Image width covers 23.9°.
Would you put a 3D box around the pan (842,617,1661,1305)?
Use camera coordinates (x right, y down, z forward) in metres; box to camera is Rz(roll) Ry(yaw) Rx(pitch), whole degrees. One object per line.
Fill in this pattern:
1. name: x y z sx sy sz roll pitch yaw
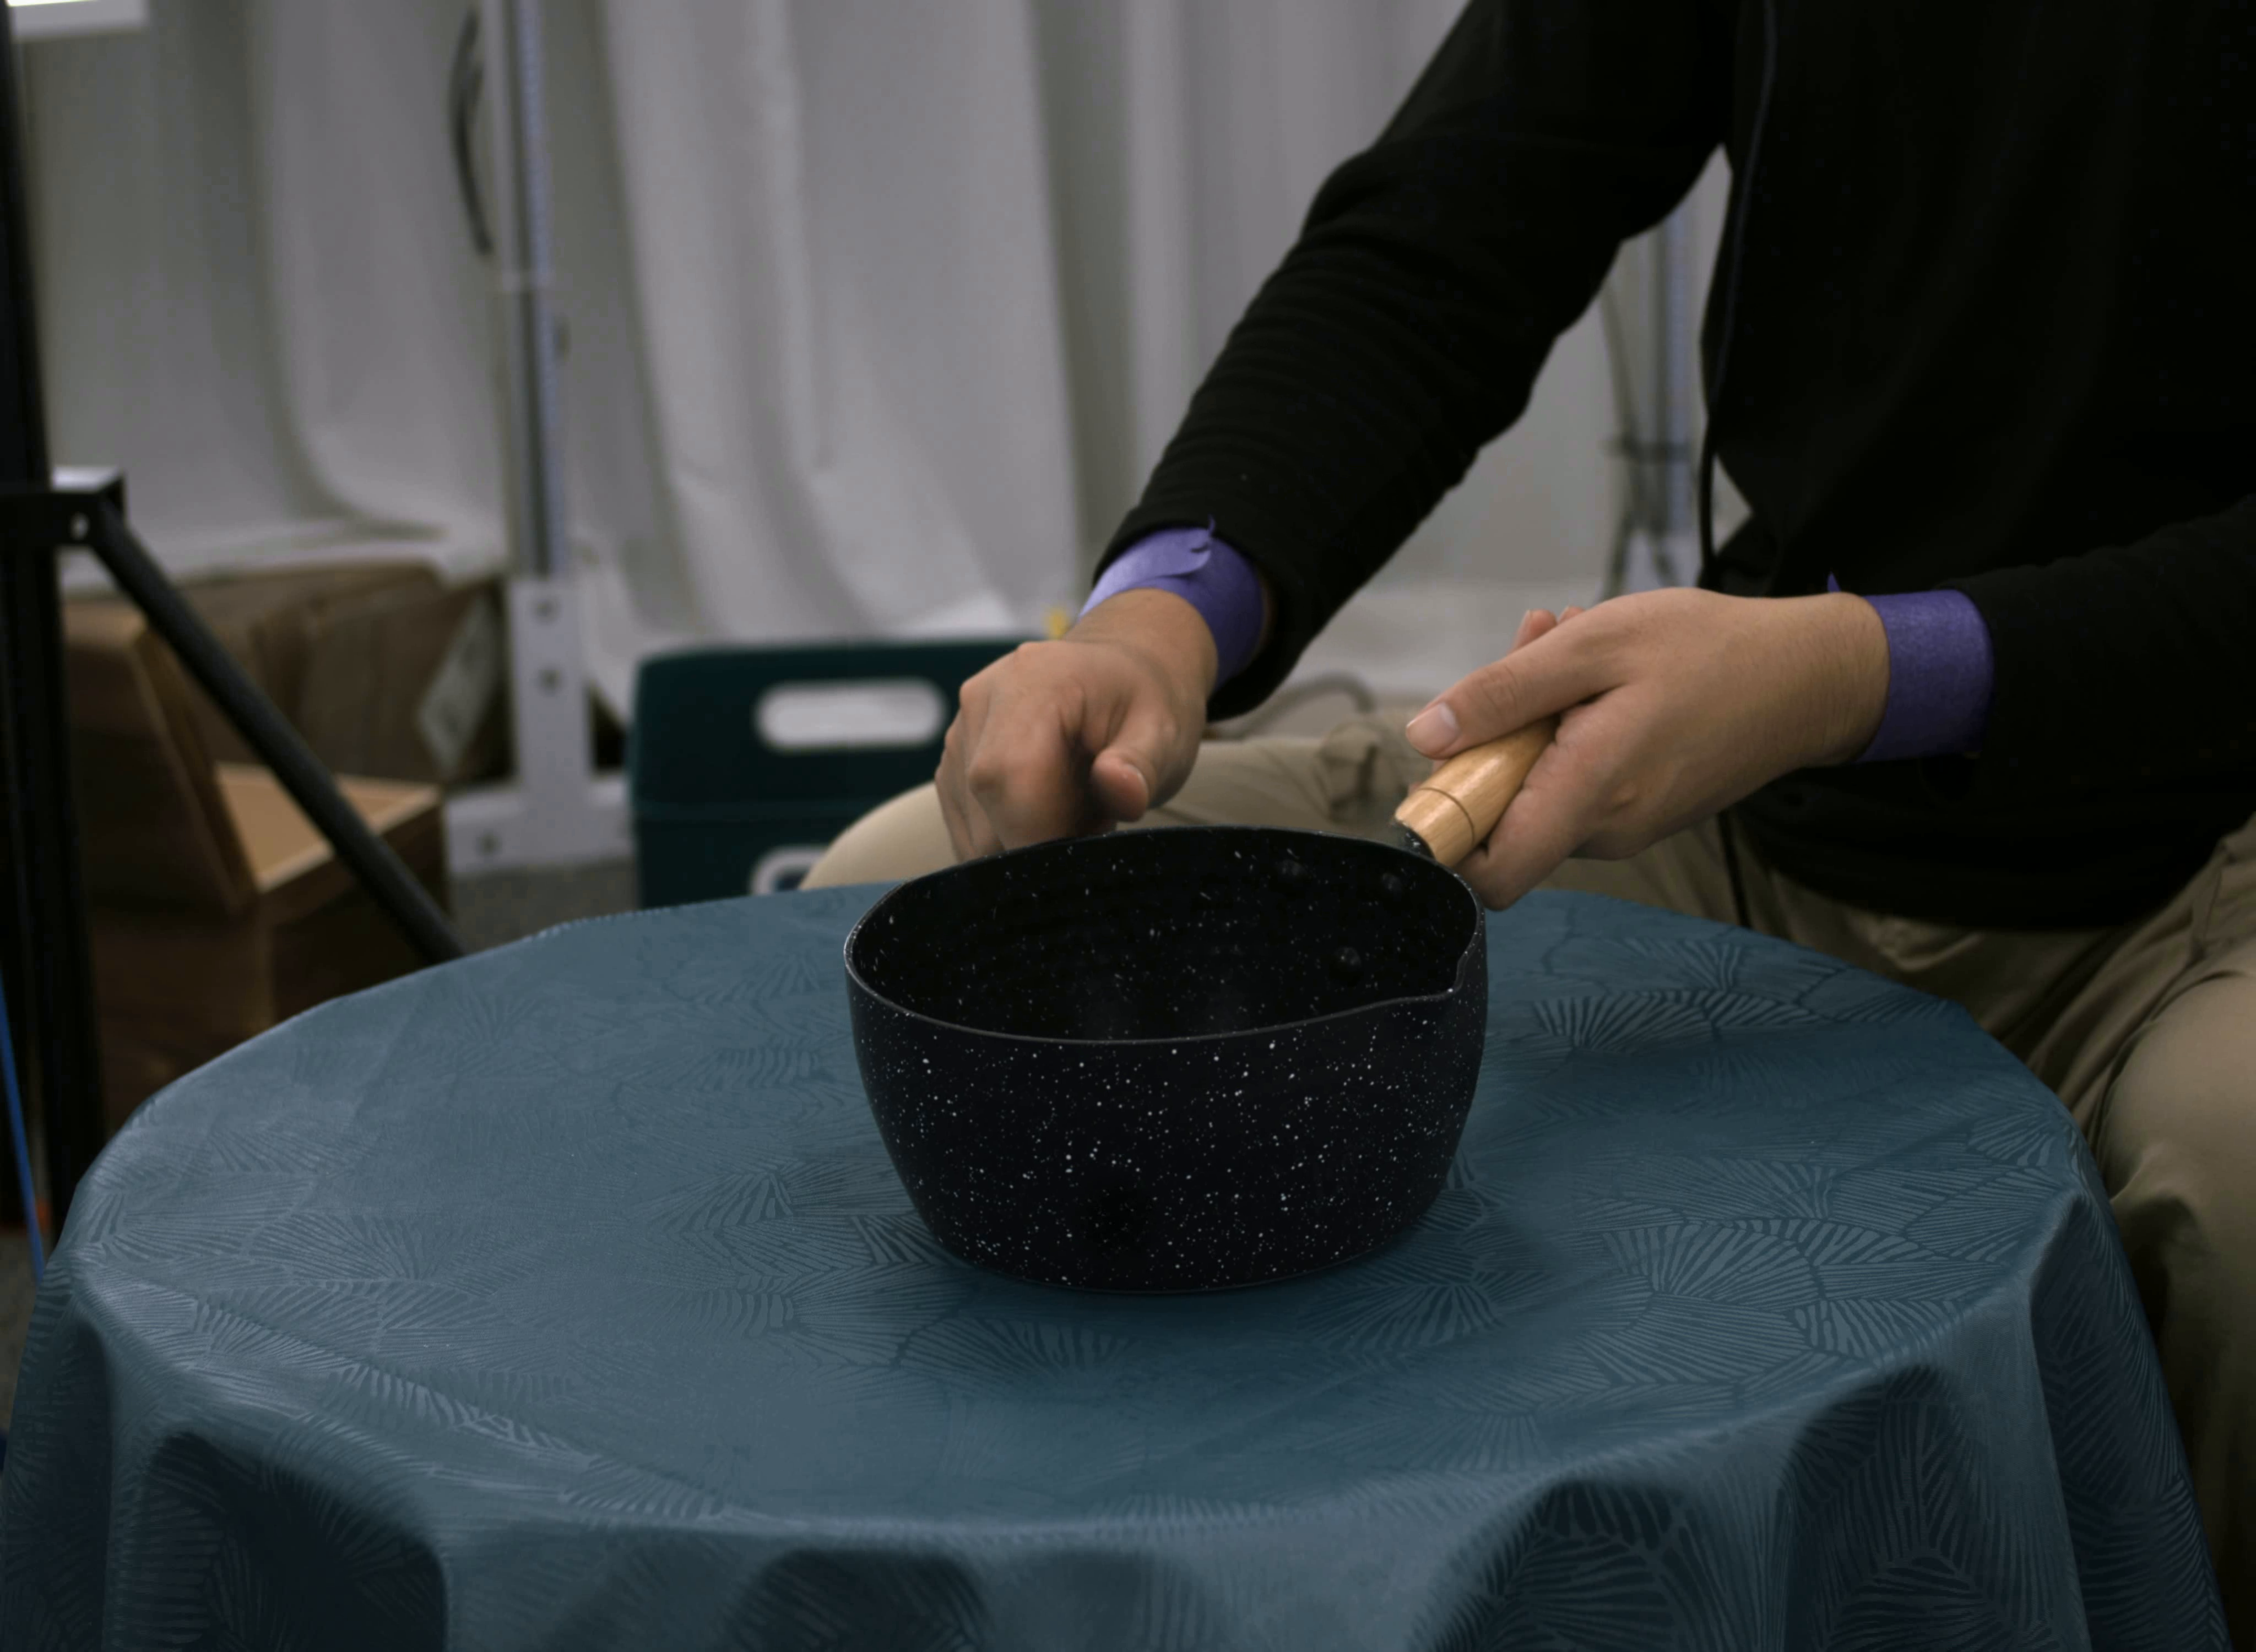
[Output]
1. pan: 0.059 0.035 1.581 0.212 0.108 0.336 10 24 37

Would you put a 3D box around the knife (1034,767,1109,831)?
1. knife: -0.017 -0.007 1.627 0.024 0.016 0.238 -21 2 0
